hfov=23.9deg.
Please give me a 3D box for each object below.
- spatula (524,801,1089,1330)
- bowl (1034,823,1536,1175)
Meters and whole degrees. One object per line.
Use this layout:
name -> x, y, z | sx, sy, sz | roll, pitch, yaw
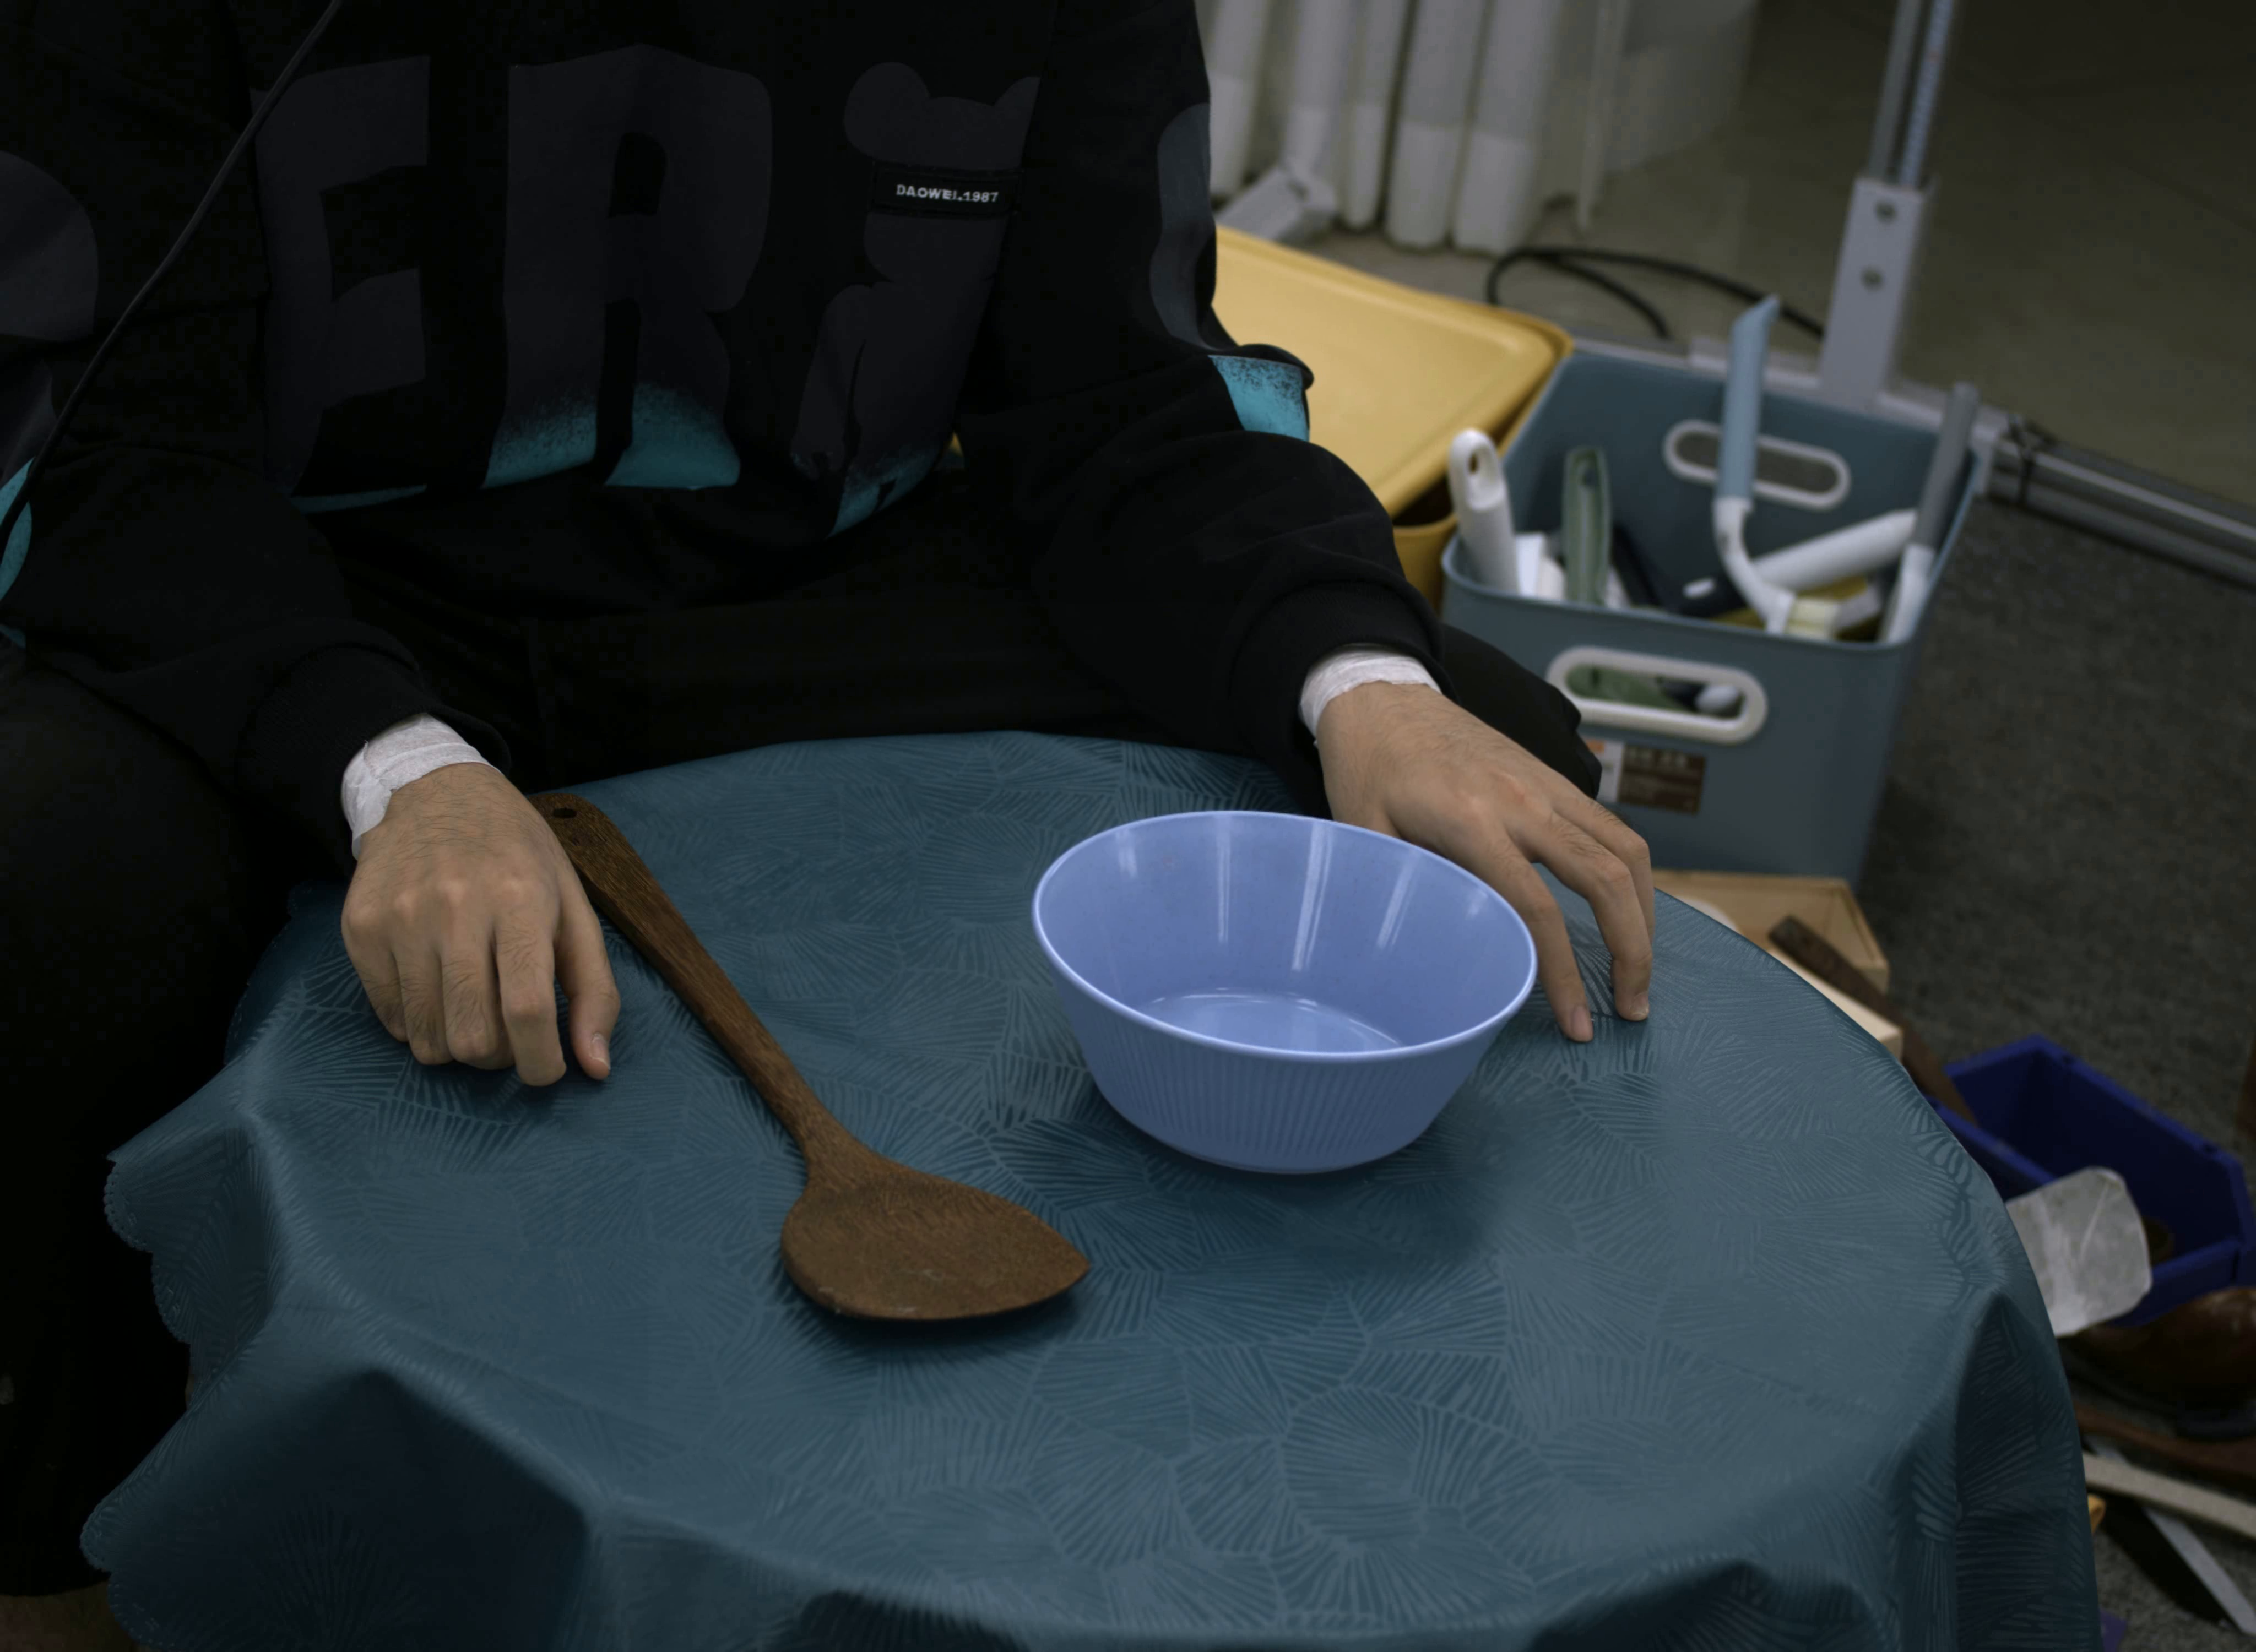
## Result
spatula -> -0.133, 0.075, 1.852 | 0.095, 0.016, 0.389 | -7, 30, -26
bowl -> 0.051, 0.066, 1.850 | 0.175, 0.070, 0.177 | 5, 25, -3
